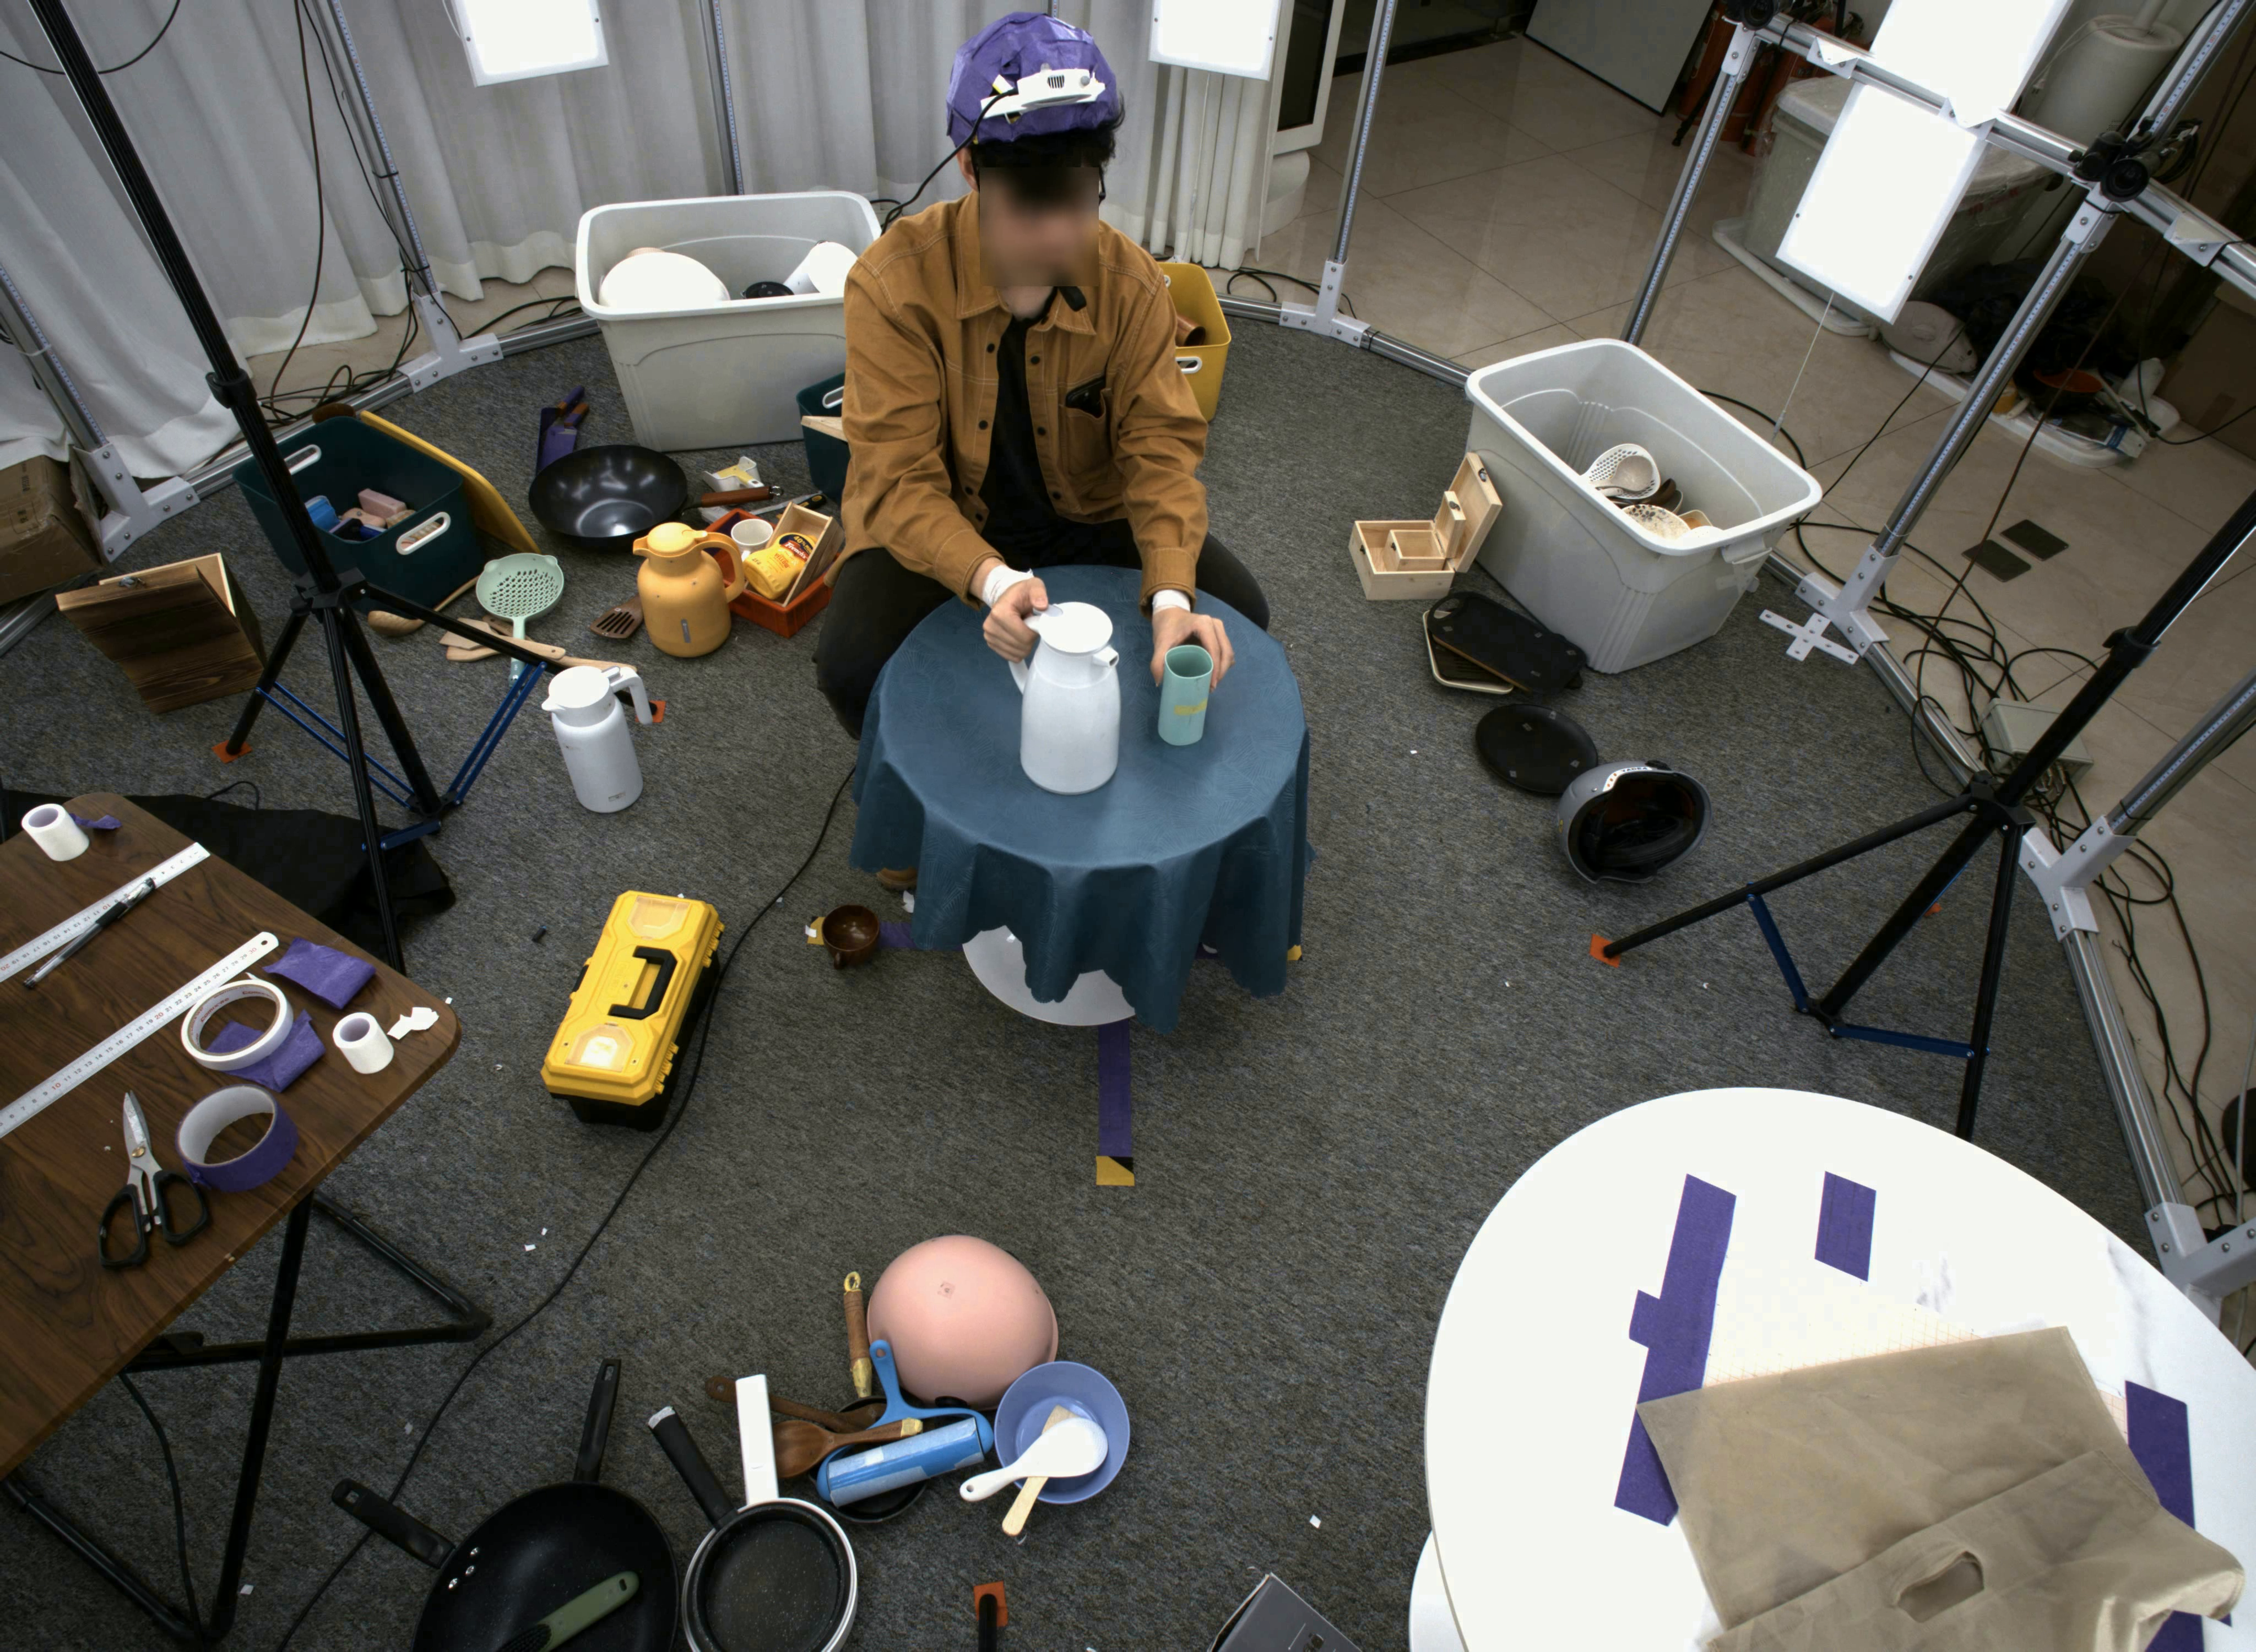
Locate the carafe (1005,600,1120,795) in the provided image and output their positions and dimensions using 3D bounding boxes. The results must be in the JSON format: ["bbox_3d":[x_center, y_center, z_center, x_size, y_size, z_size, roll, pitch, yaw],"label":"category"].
[{"bbox_3d":[-0.090,-0.178,1.658,0.169,0.242,0.134,31,55,22],"label":"carafe"}]

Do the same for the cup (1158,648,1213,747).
[{"bbox_3d":[0.077,-0.175,1.745,0.066,0.129,0.068,2,50,-3],"label":"cup"}]
